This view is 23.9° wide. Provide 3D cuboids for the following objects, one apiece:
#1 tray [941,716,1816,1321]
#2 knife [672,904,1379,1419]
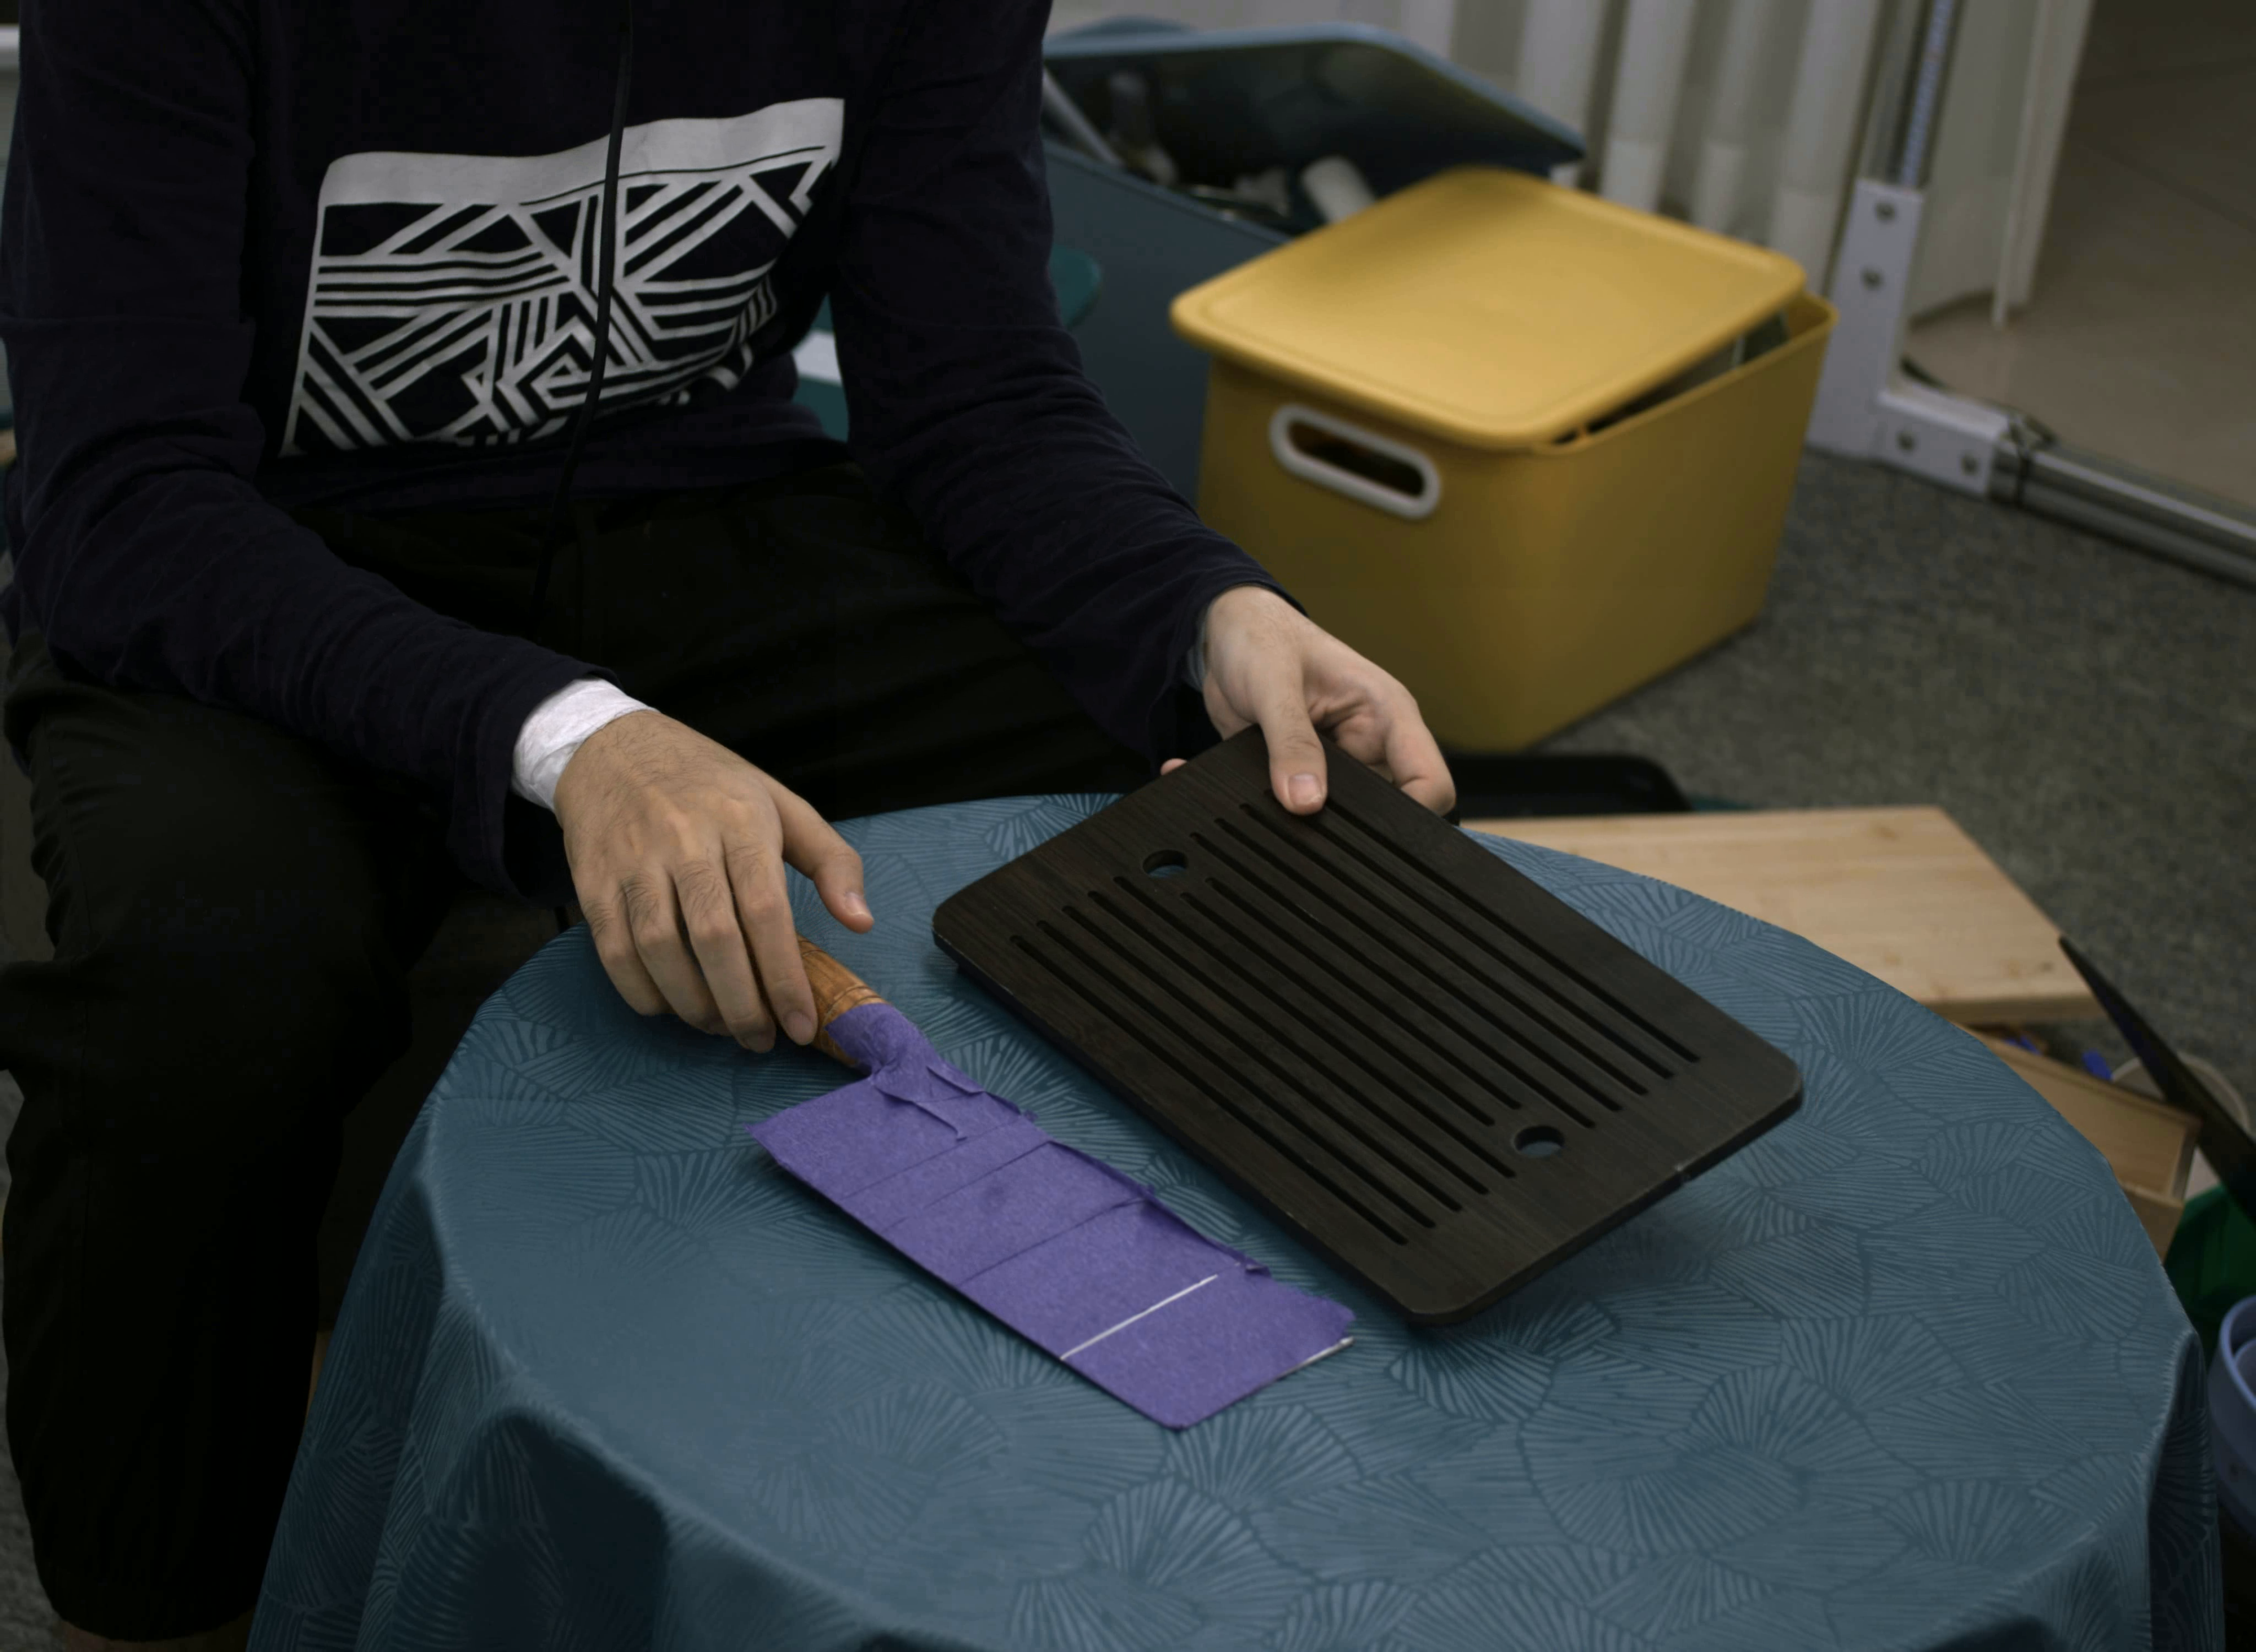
[{"bbox_3d":[0.083,0.064,1.867,0.169,0.018,0.308,-30,40,-22],"label":"tray"},{"bbox_3d":[-0.062,0.109,1.791,0.317,0.032,0.103,29,34,36],"label":"knife"}]
